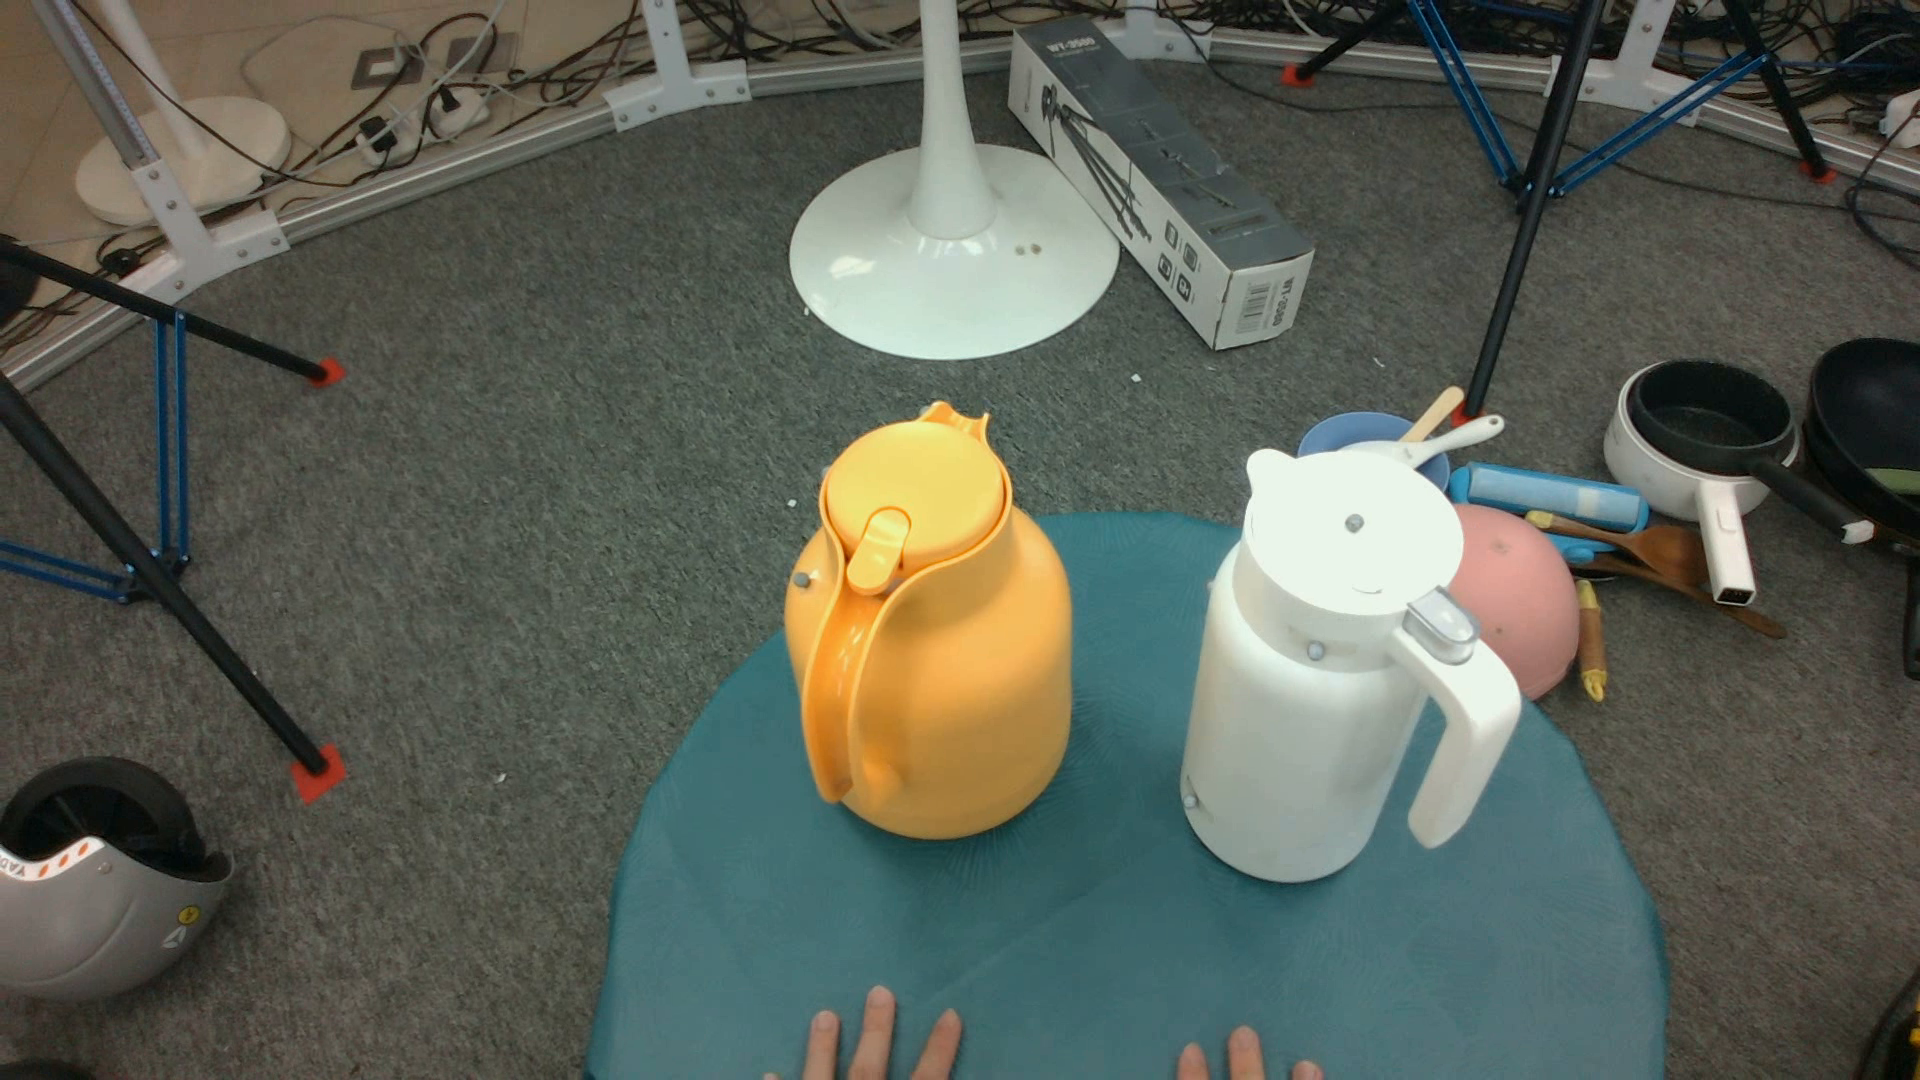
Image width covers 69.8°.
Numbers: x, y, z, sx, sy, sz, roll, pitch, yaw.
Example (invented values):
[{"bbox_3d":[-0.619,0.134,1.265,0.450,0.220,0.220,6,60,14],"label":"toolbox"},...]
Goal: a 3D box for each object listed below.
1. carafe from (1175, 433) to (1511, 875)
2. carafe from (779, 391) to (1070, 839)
[{"bbox_3d":[0.195,0.083,0.732,0.124,0.267,0.173,-27,55,-20],"label":"carafe"},{"bbox_3d":[-0.029,0.058,0.763,0.163,0.259,0.203,16,52,18],"label":"carafe"}]
